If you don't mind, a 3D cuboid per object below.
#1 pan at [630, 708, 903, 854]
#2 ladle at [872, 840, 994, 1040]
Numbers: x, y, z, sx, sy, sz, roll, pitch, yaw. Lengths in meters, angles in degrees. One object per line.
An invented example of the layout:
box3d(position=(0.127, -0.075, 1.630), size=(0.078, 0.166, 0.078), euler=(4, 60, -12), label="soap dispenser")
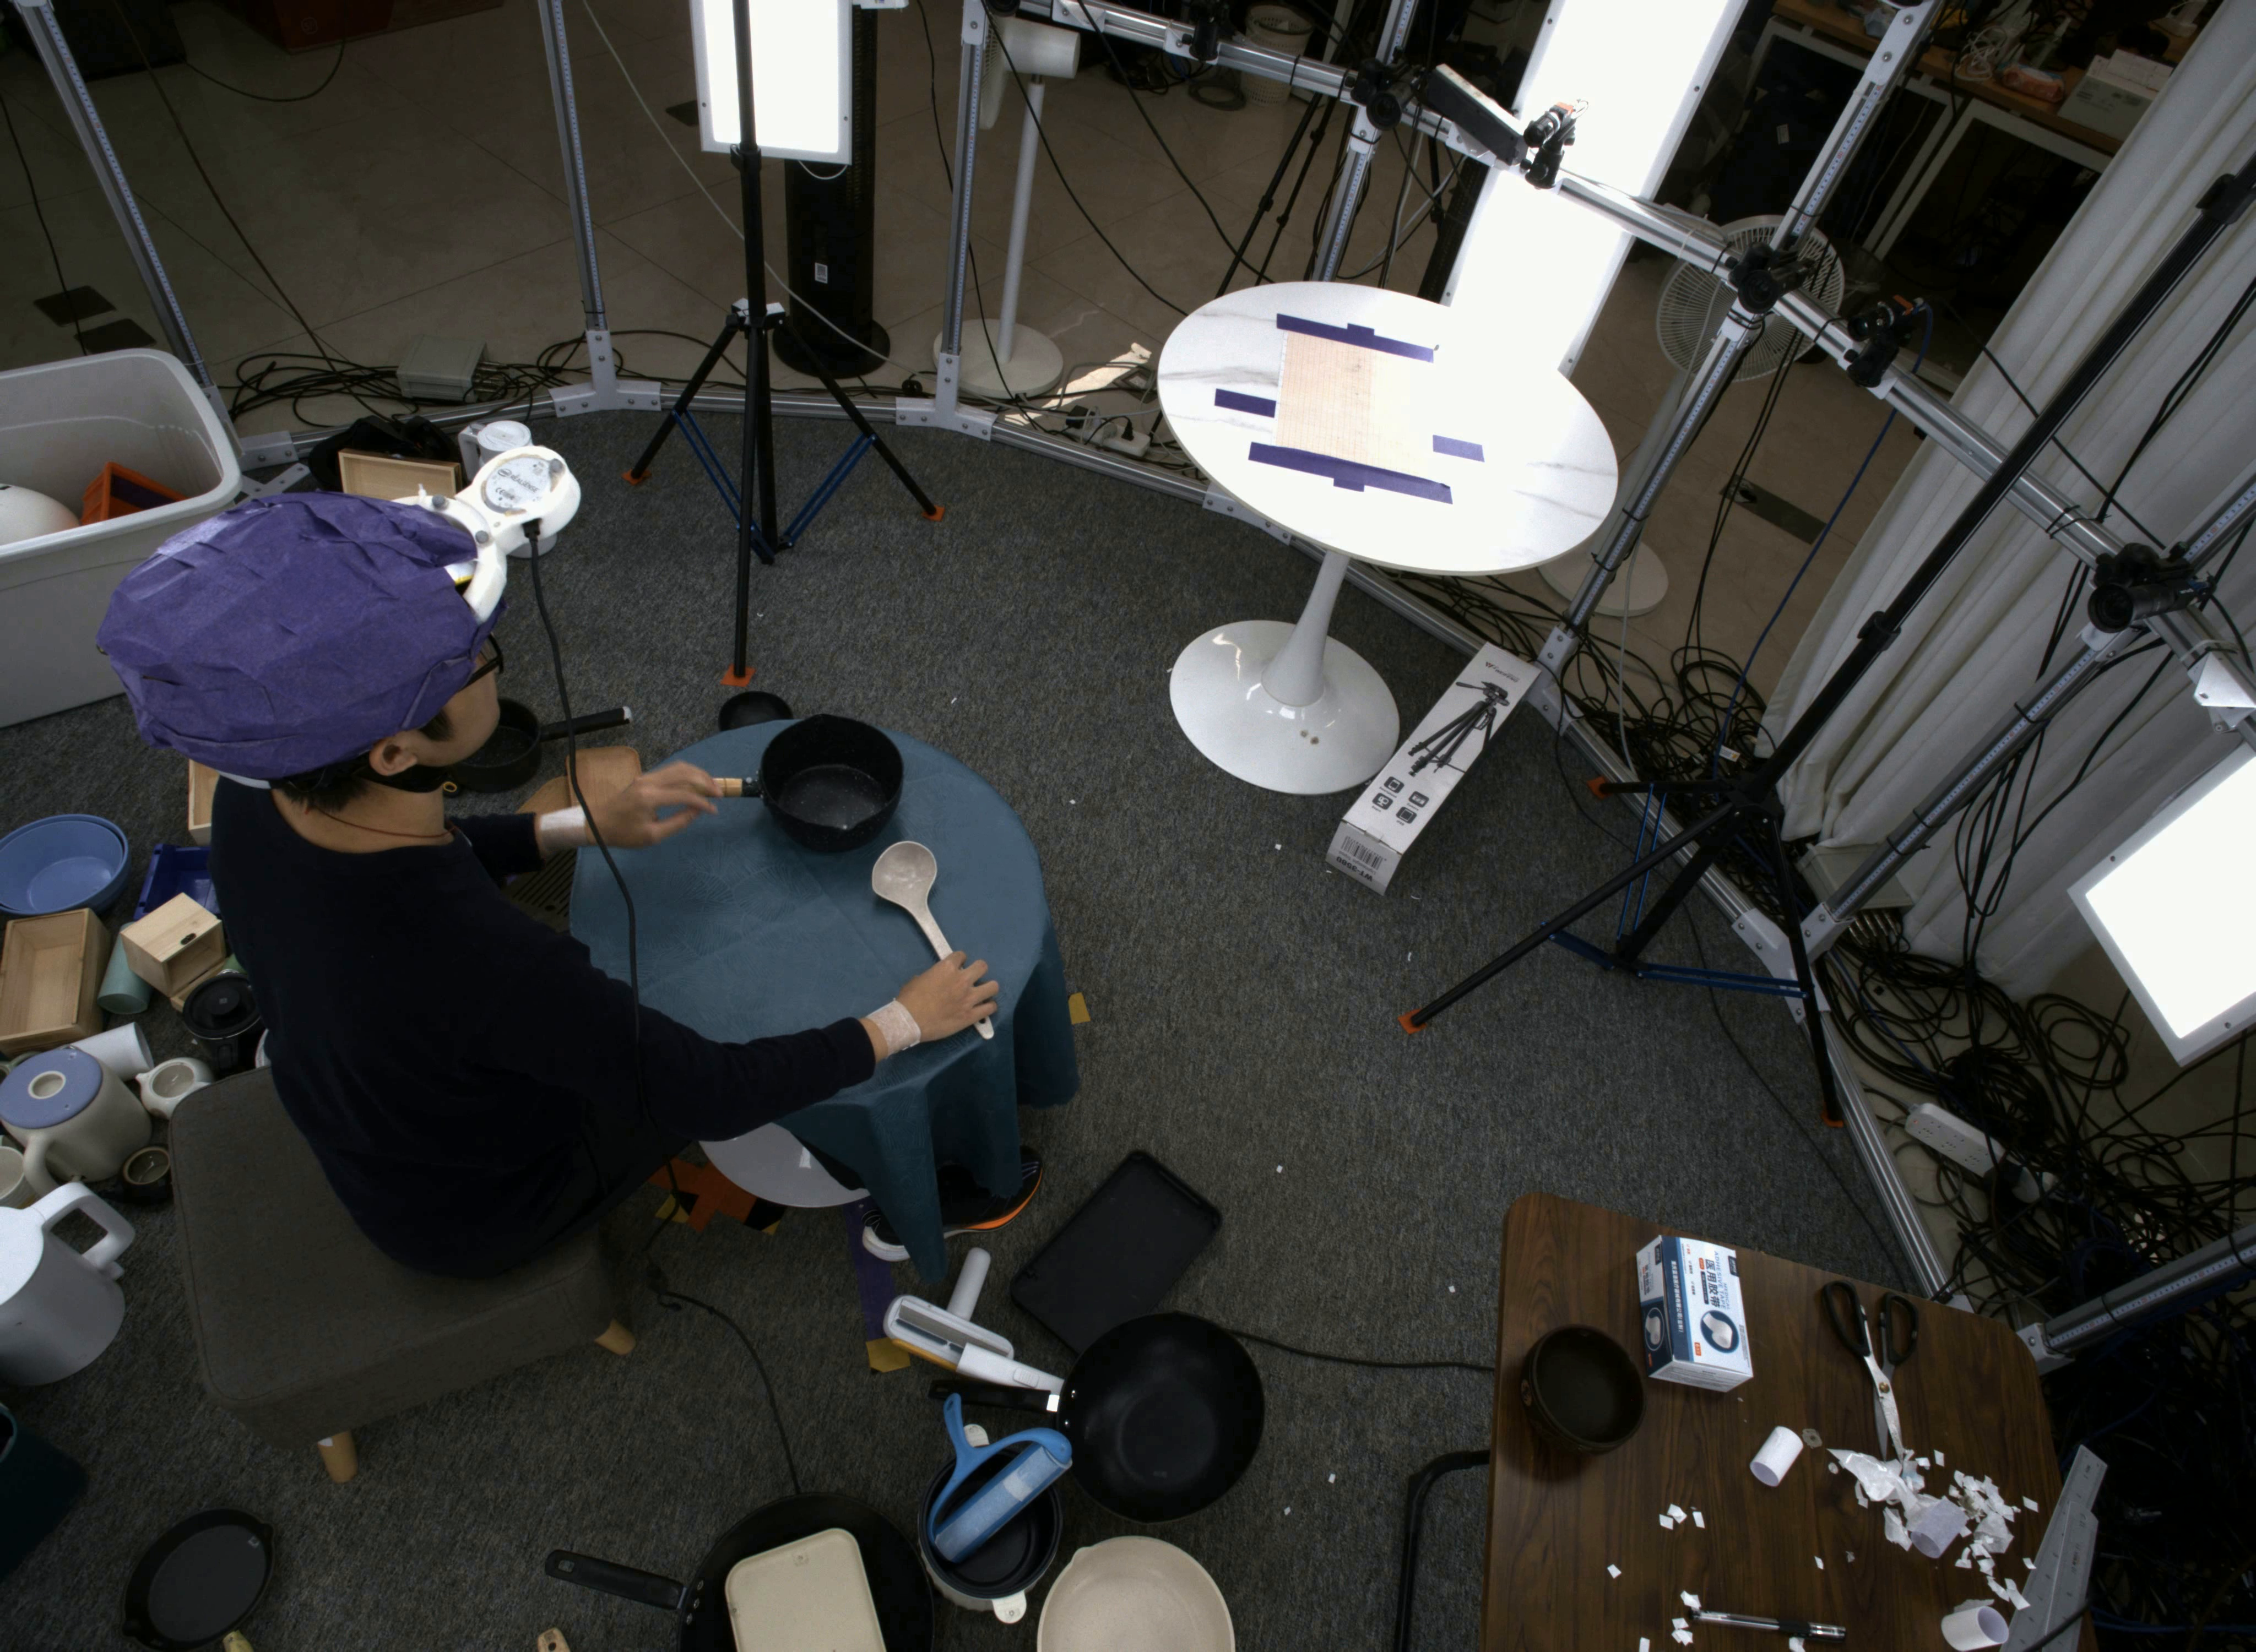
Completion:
box3d(position=(-0.462, -0.045, 1.668), size=(0.345, 0.110, 0.202), euler=(-9, 57, -22), label="pan")
box3d(position=(-0.231, 0.137, 1.620), size=(0.090, 0.070, 0.268), euler=(-17, 60, -35), label="ladle")
